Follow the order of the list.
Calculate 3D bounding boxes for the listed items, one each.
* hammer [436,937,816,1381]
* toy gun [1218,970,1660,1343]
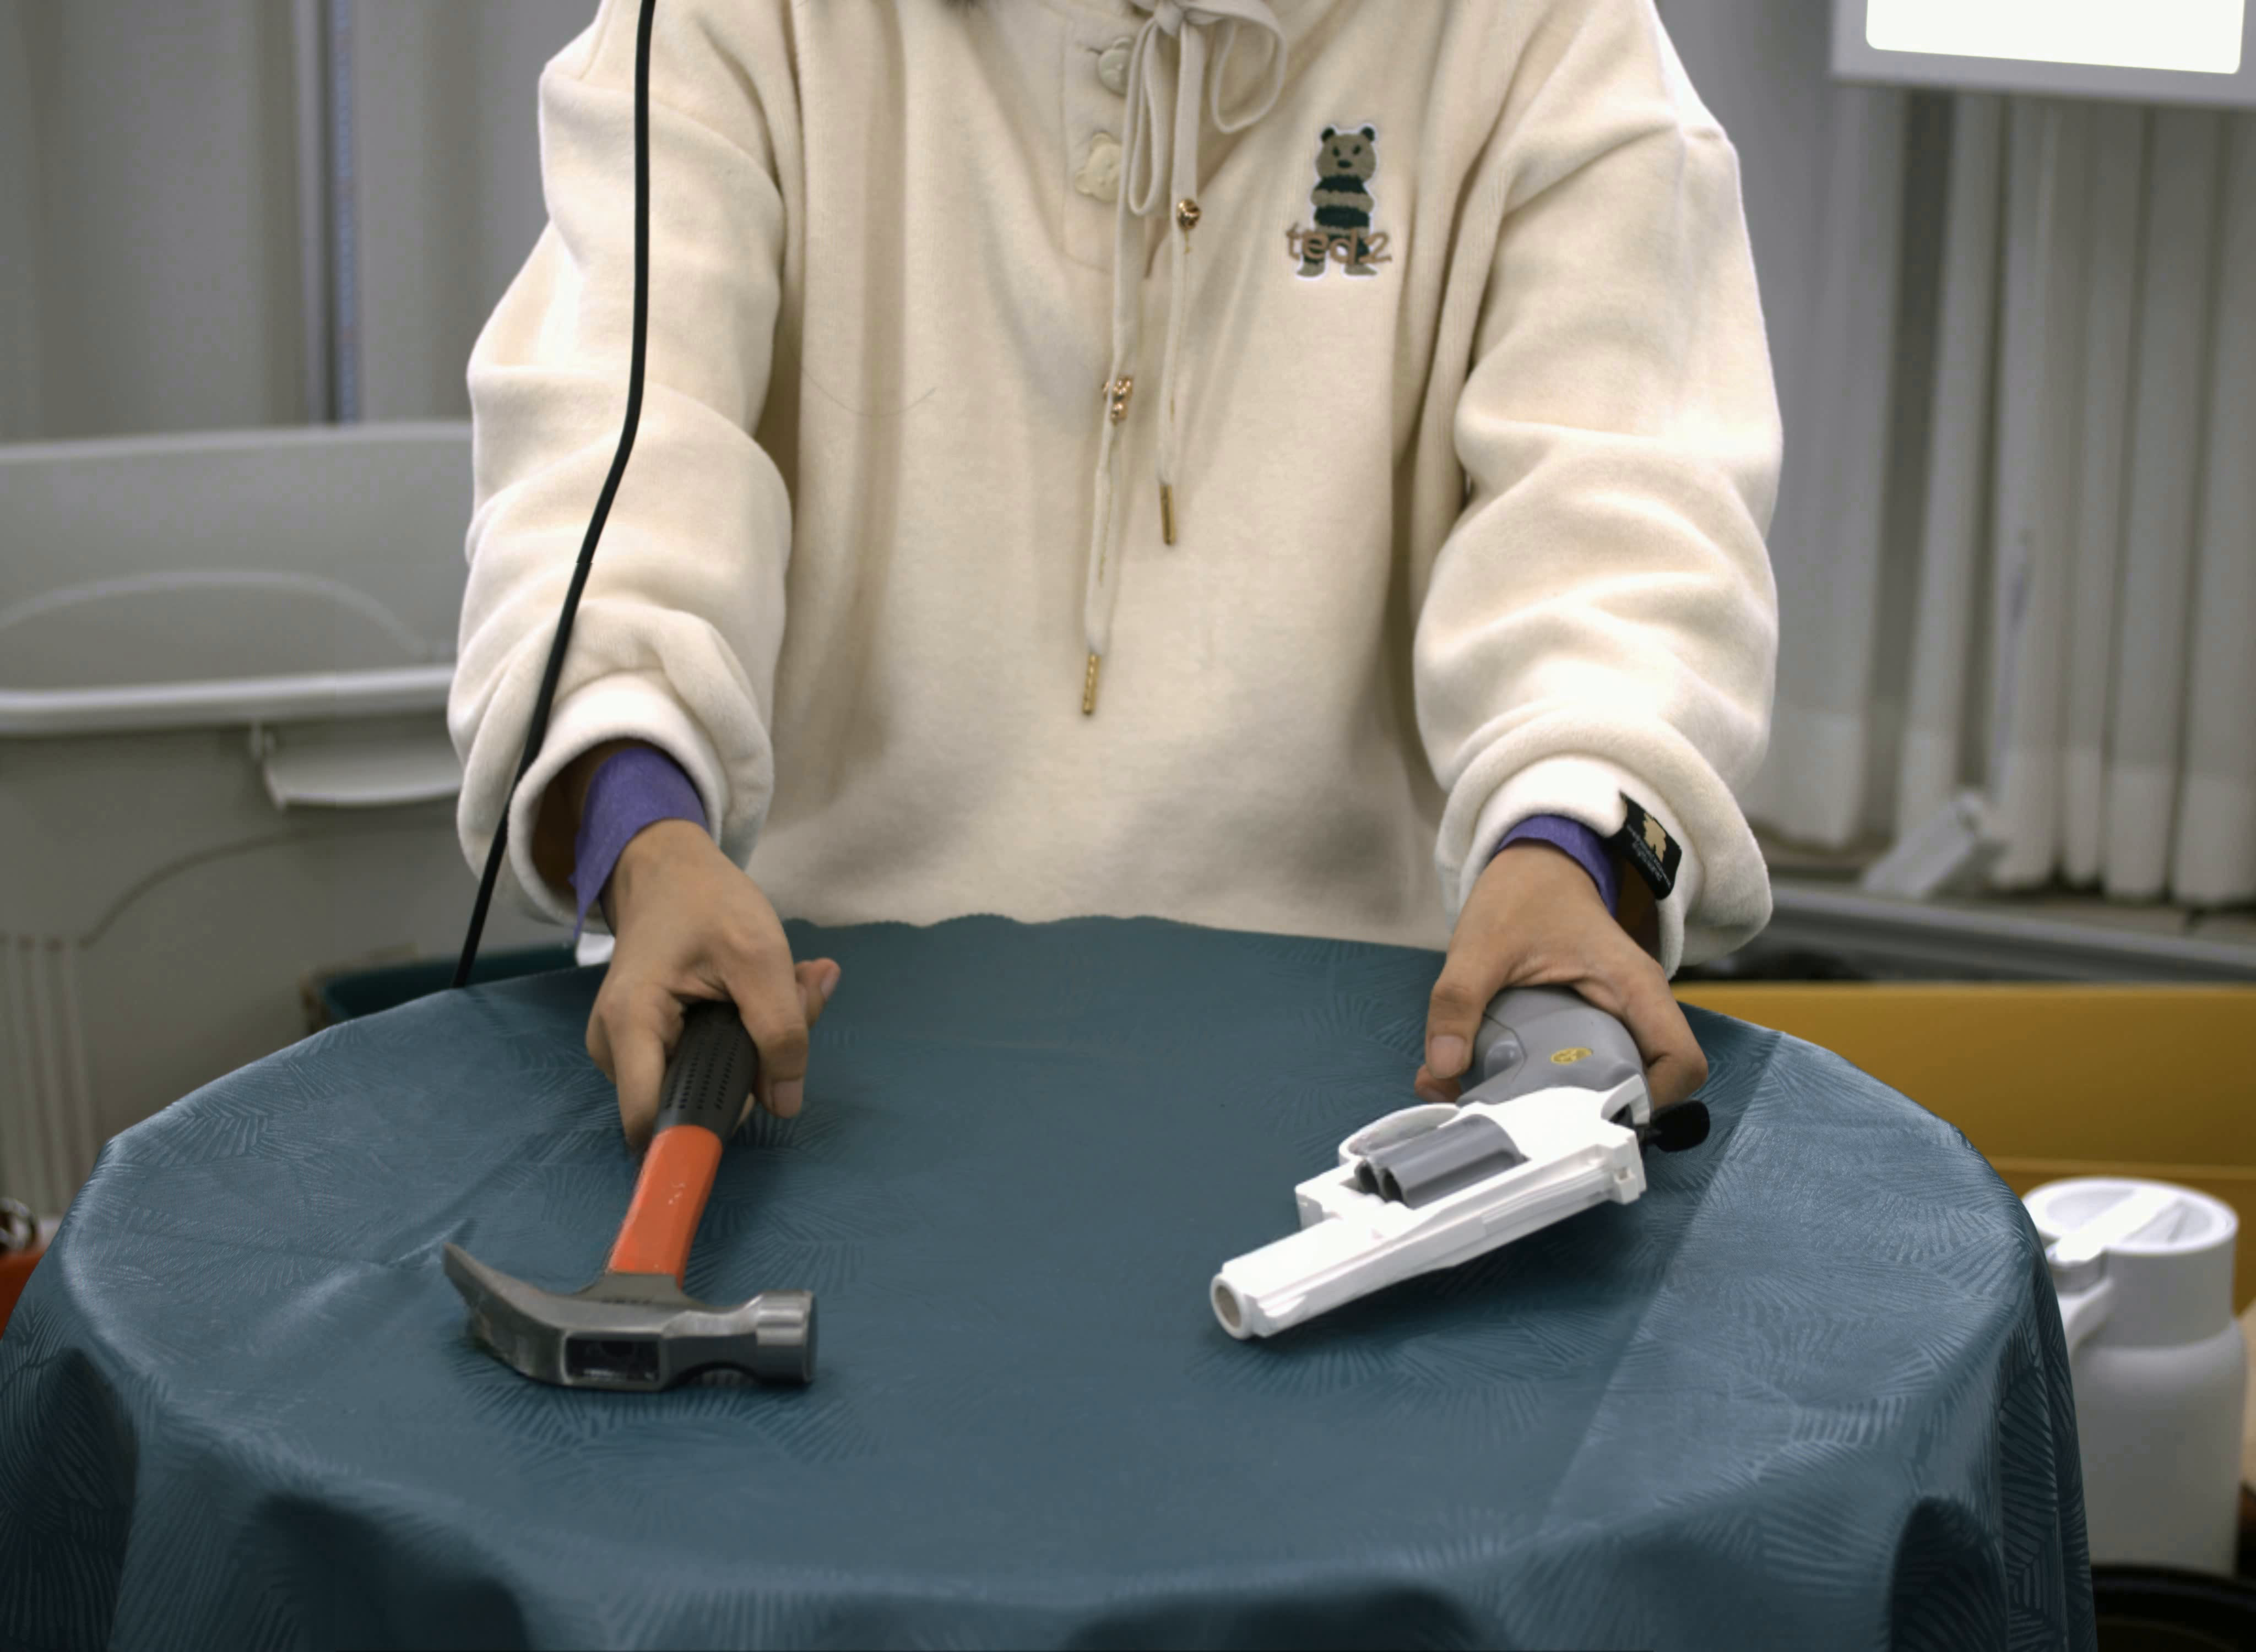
[{"bbox_3d":[-0.135,0.095,1.578,0.110,0.026,0.276,-7,20,6],"label":"hammer"},{"bbox_3d":[0.090,0.097,1.582,0.209,0.039,0.140,-21,20,-29],"label":"toy gun"}]
